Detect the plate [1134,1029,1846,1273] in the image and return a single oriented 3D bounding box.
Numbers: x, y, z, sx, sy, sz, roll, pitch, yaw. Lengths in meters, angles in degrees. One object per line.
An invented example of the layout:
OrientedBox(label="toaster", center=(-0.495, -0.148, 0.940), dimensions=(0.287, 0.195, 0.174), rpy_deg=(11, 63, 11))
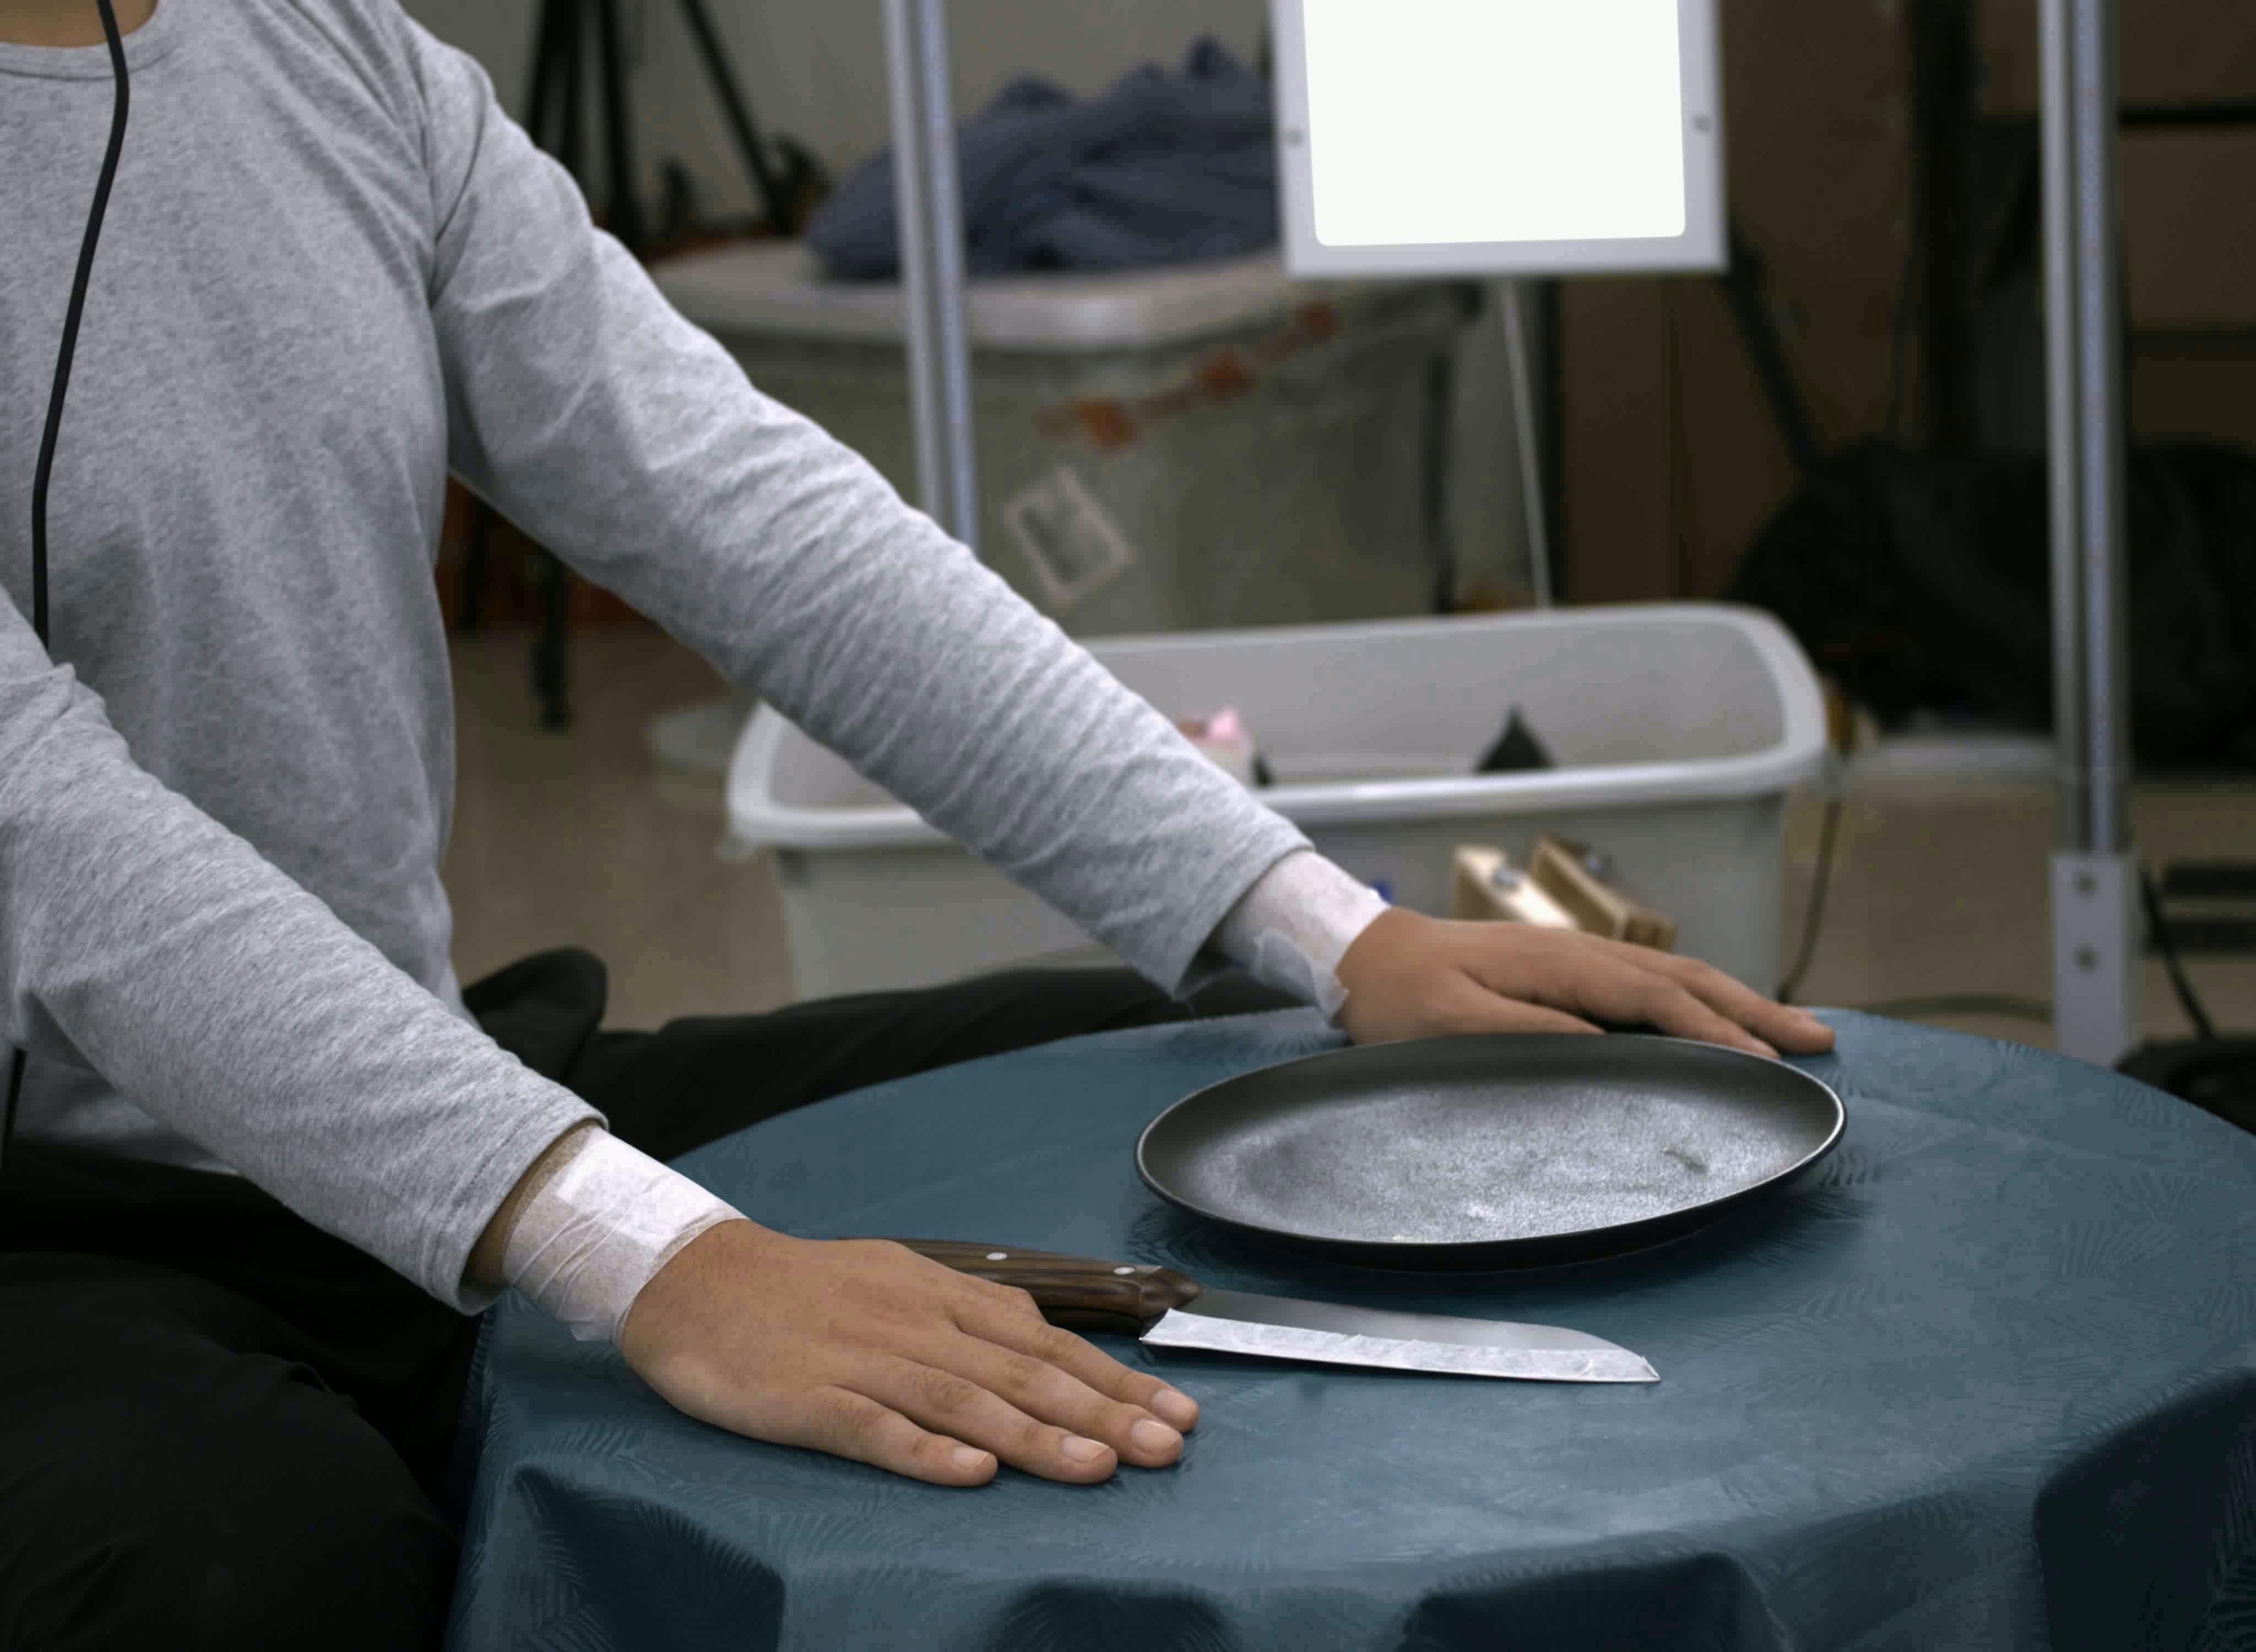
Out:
OrientedBox(label="plate", center=(0.123, 0.113, 1.867), dimensions=(0.244, 0.023, 0.244), rpy_deg=(-6, 14, 0))

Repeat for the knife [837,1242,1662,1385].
OrientedBox(label="knife", center=(0.034, 0.156, 1.739), dimensions=(0.294, 0.020, 0.049), rpy_deg=(5, 21, 27))
